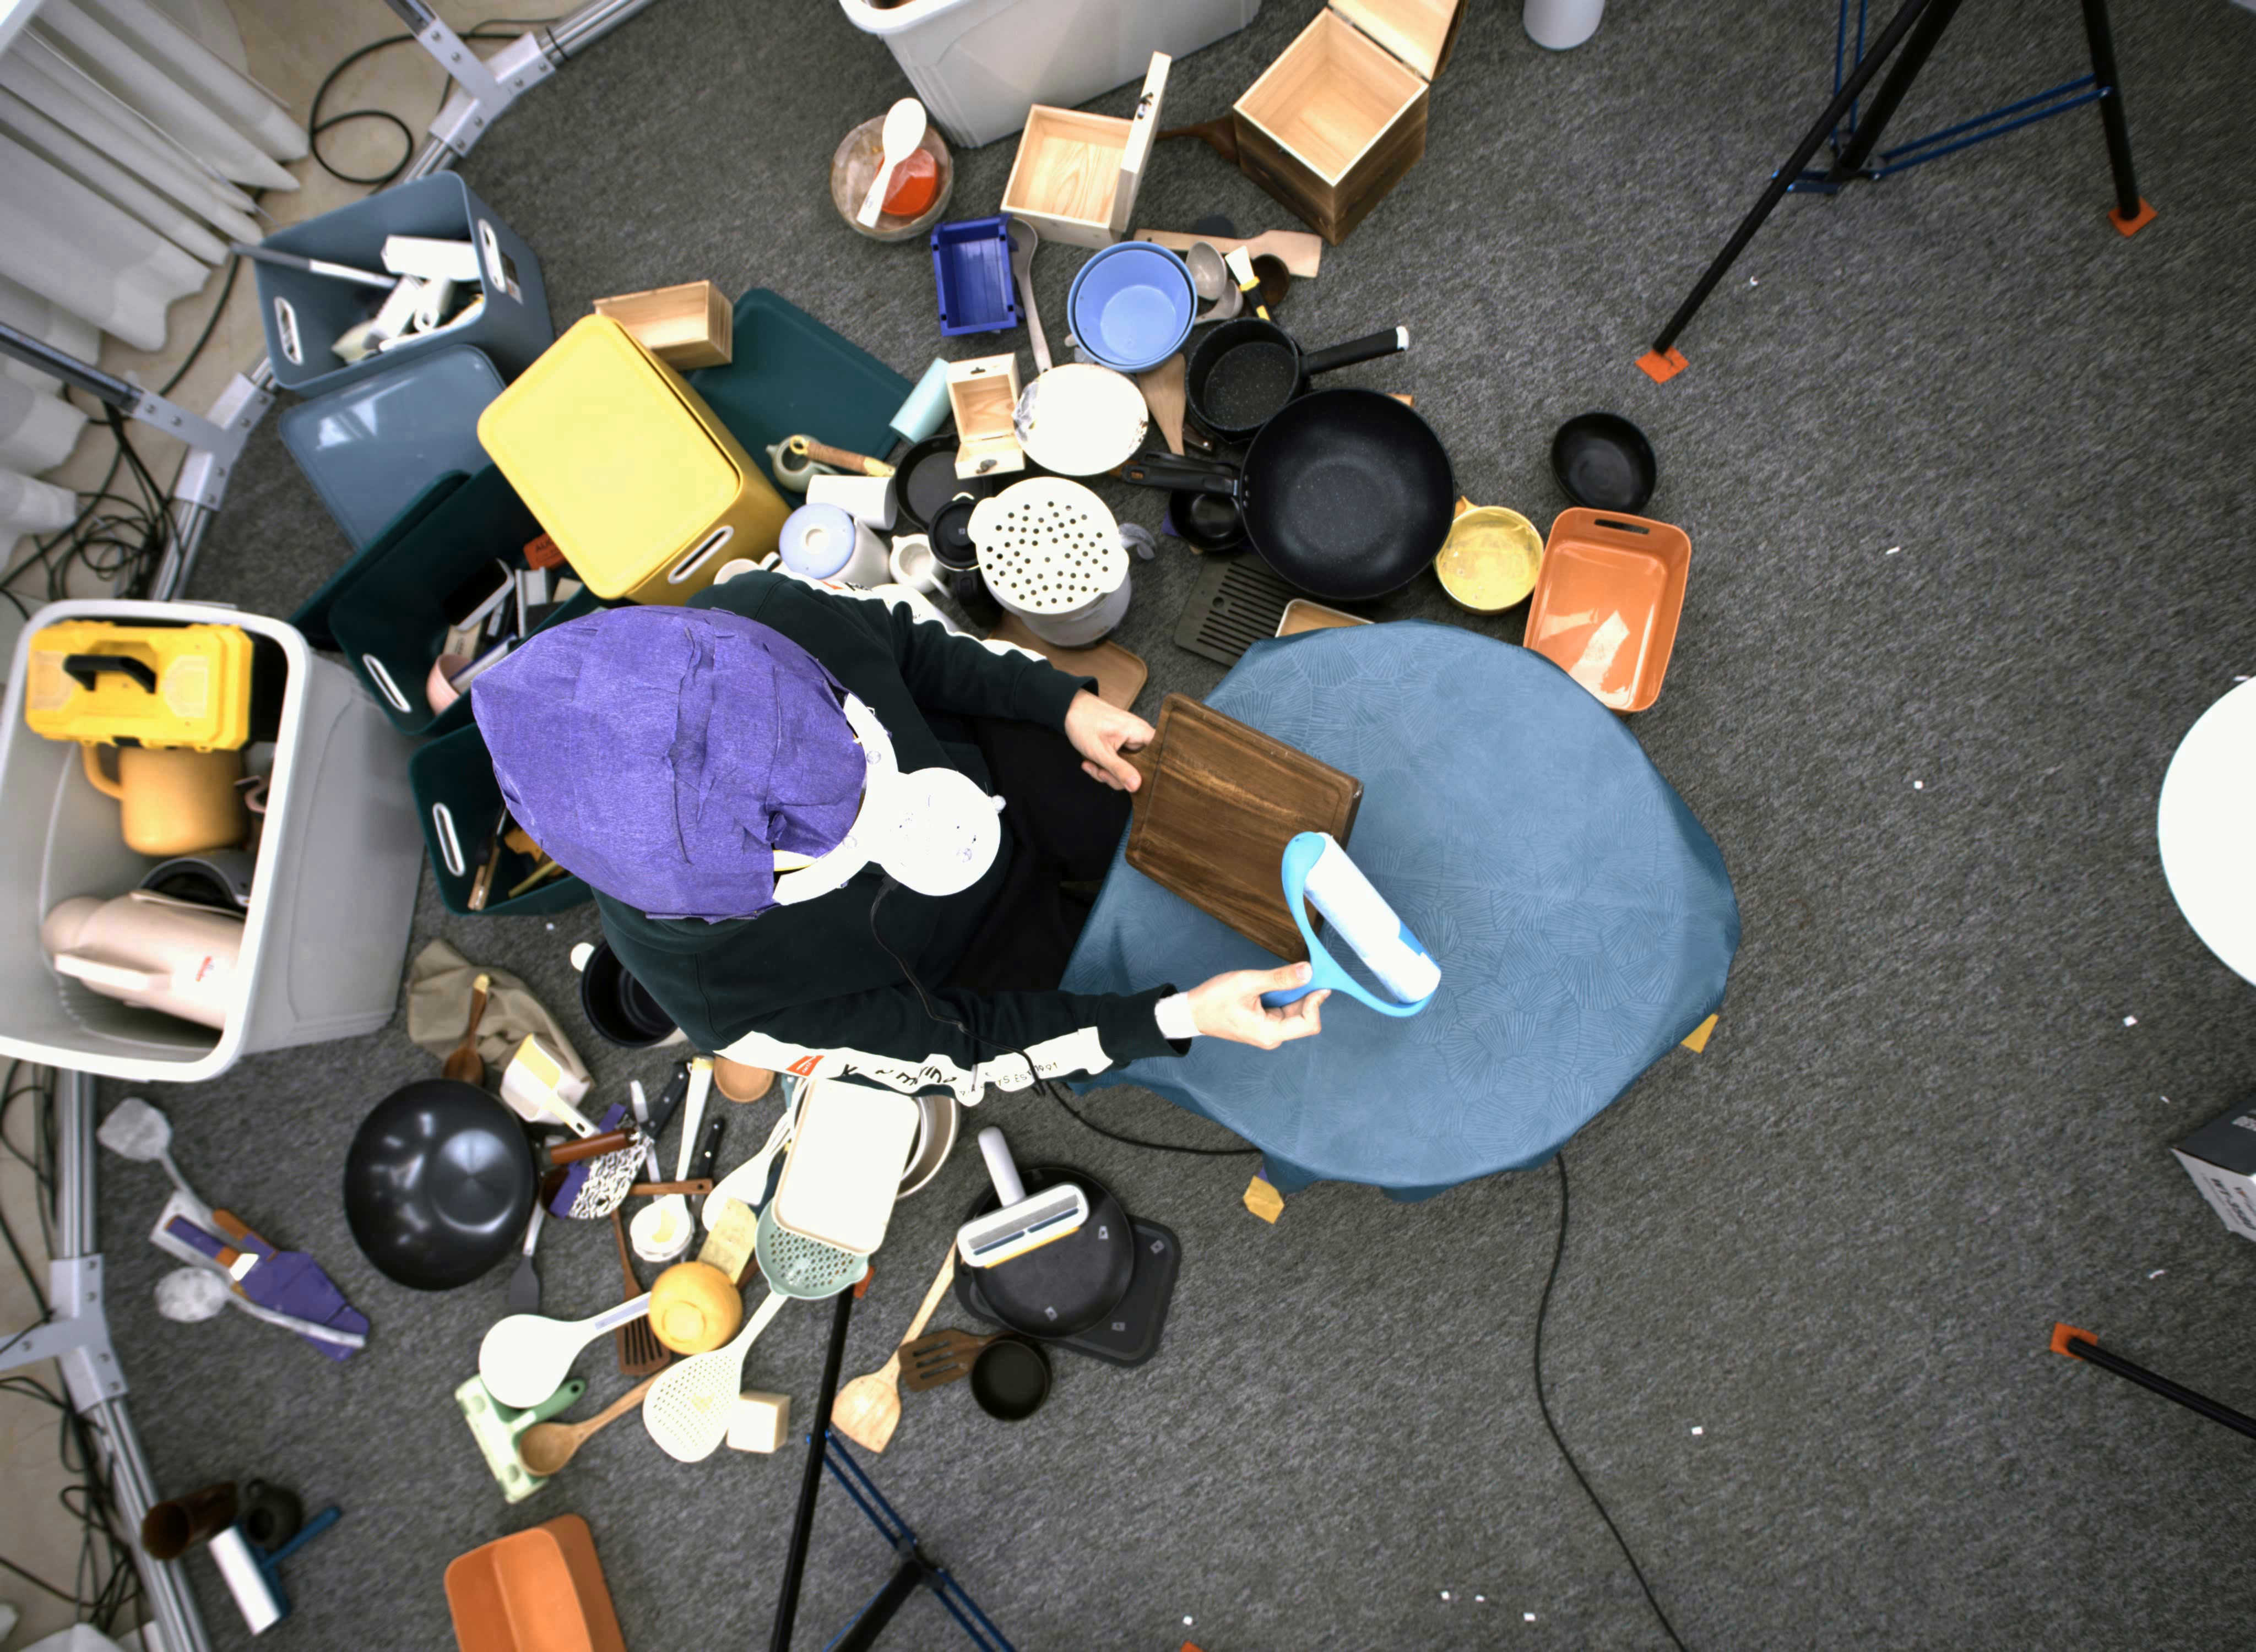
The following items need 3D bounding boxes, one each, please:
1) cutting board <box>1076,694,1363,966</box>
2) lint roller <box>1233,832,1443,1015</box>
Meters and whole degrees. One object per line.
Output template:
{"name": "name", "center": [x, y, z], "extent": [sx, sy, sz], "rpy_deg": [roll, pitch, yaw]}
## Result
{"name": "cutting board", "center": [0.073, -0.020, 1.406], "extent": [0.350, 0.023, 0.205], "rpy_deg": [30, 118, 36]}
{"name": "lint roller", "center": [0.179, 0.126, 1.305], "extent": [0.182, 0.066, 0.231], "rpy_deg": [-42, 118, 10]}
